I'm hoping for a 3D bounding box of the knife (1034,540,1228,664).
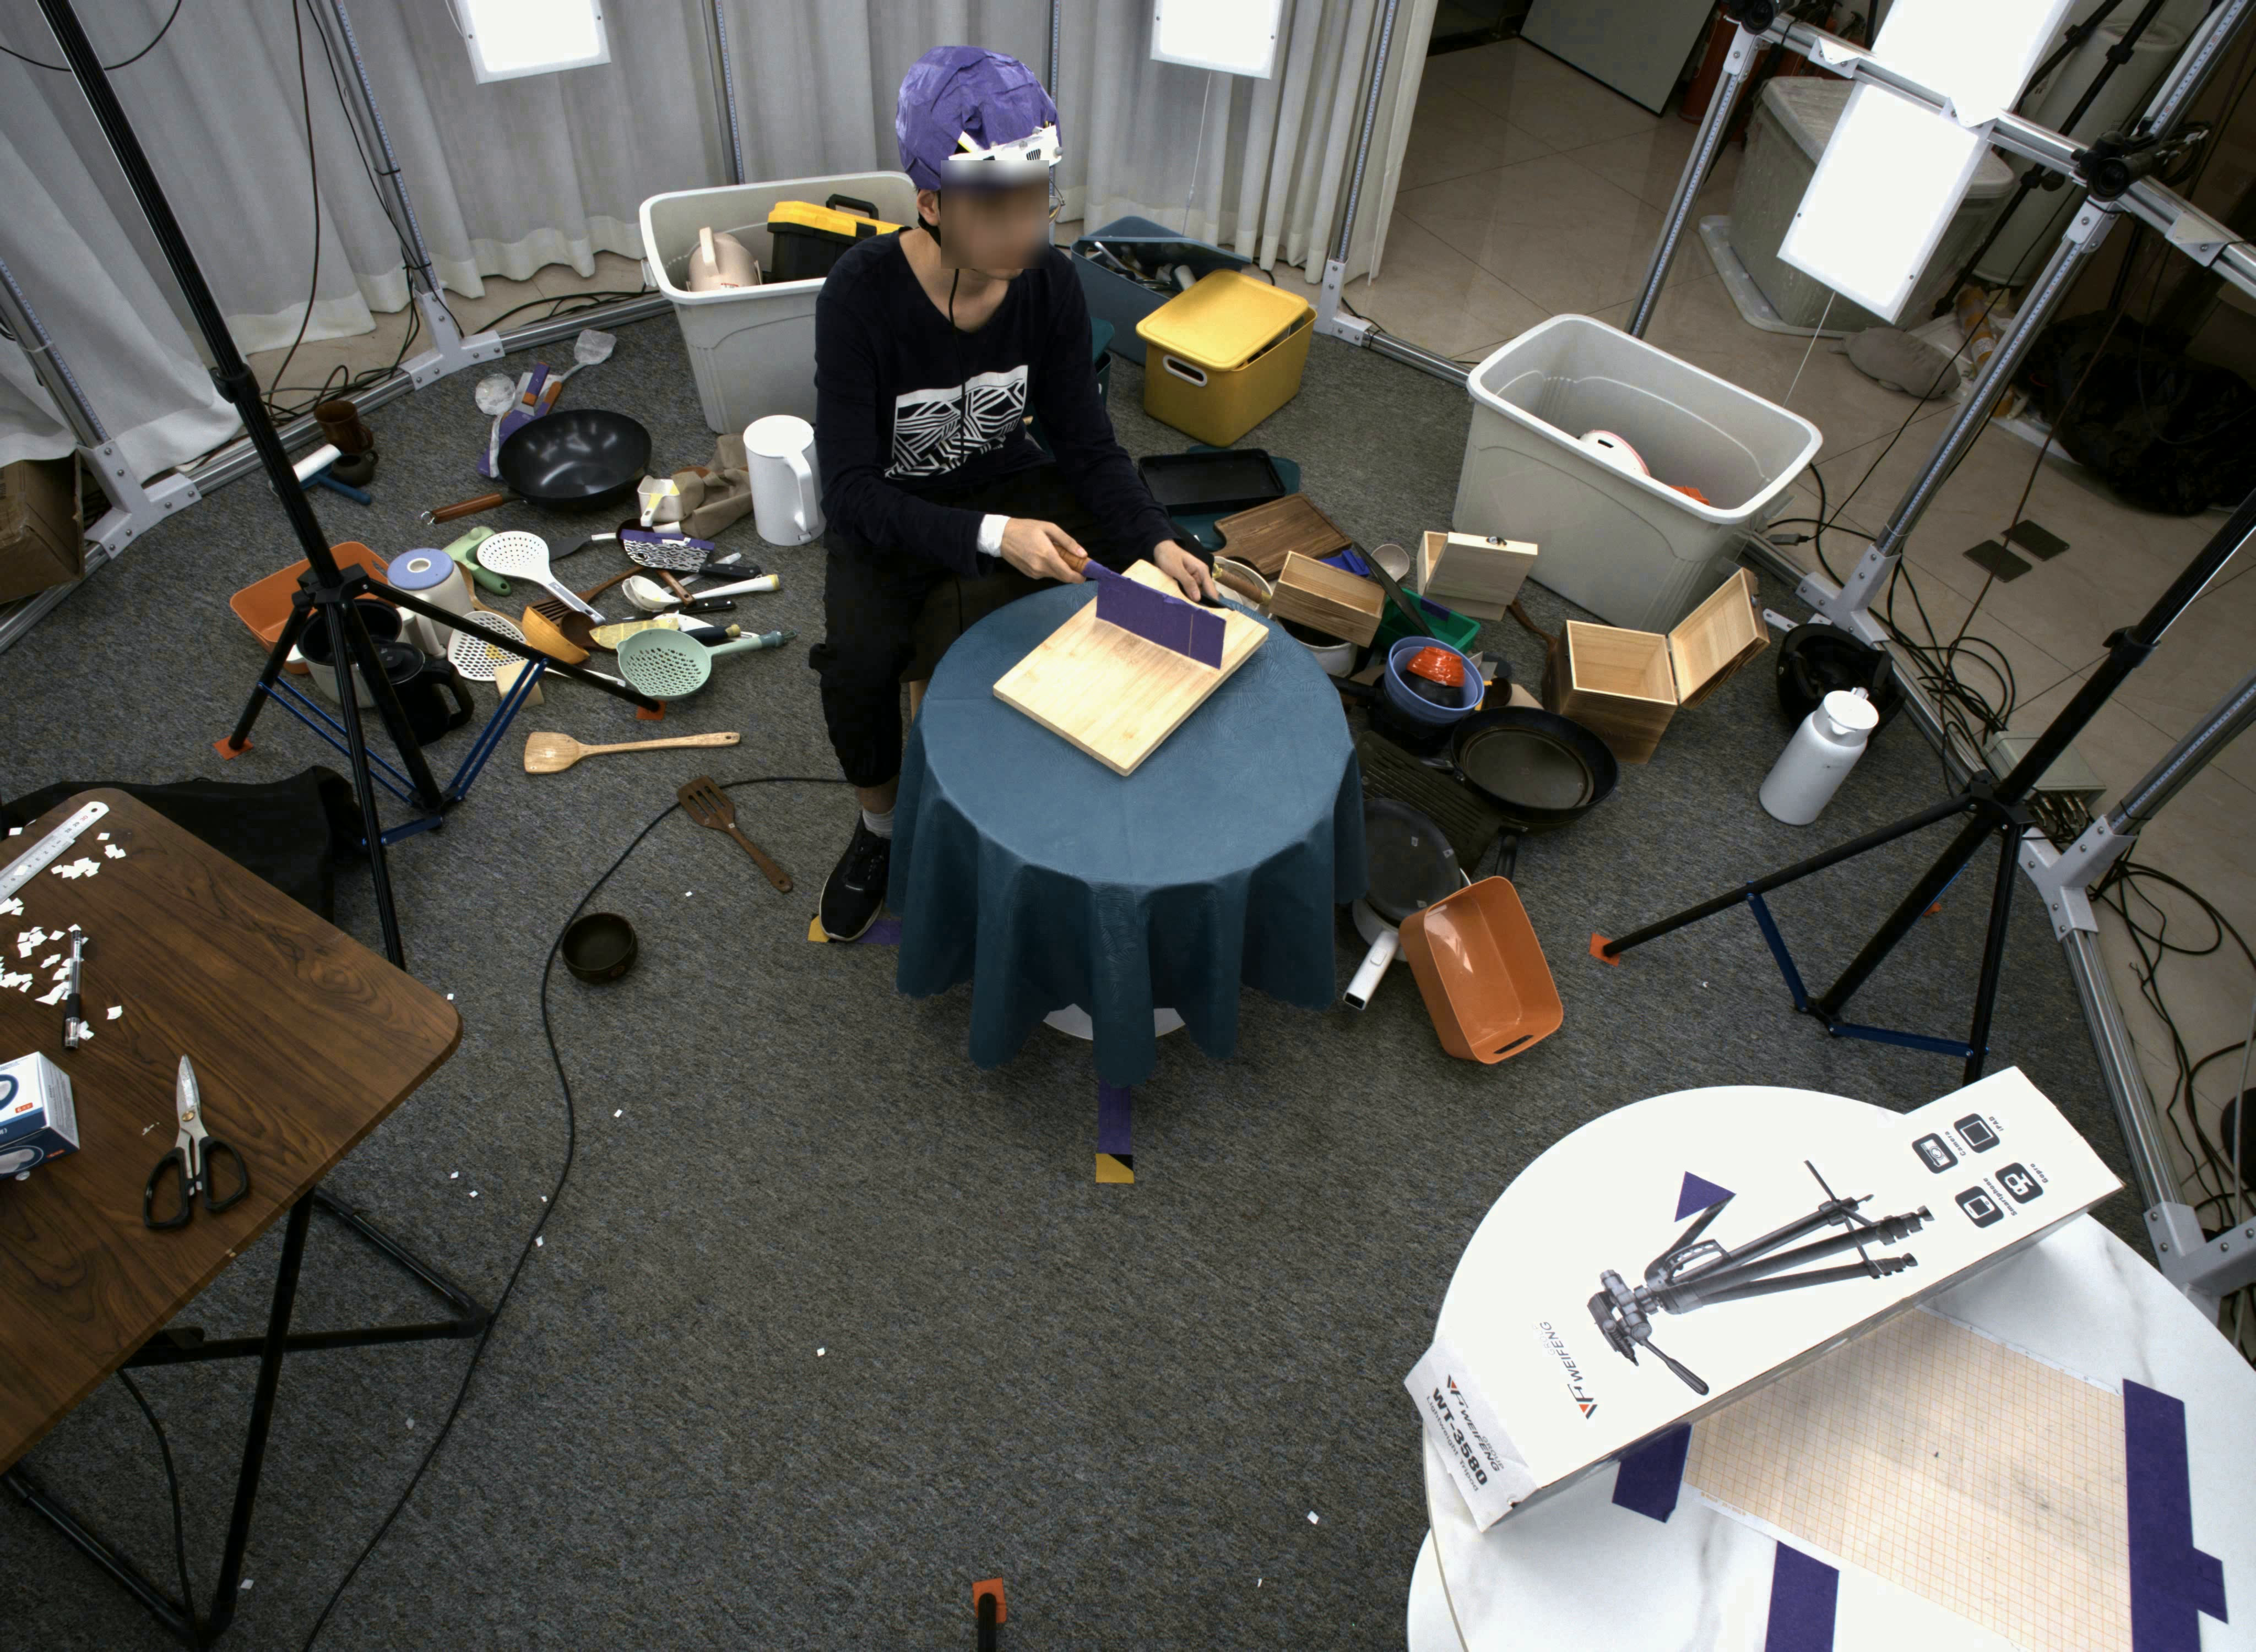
[{"bbox_3d":[0.000,-0.315,1.834,0.318,0.101,0.032,27,47,22],"label":"knife"}]

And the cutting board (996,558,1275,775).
[{"bbox_3d":[0.013,-0.240,1.849,0.253,0.023,0.353,32,58,22],"label":"cutting board"}]
